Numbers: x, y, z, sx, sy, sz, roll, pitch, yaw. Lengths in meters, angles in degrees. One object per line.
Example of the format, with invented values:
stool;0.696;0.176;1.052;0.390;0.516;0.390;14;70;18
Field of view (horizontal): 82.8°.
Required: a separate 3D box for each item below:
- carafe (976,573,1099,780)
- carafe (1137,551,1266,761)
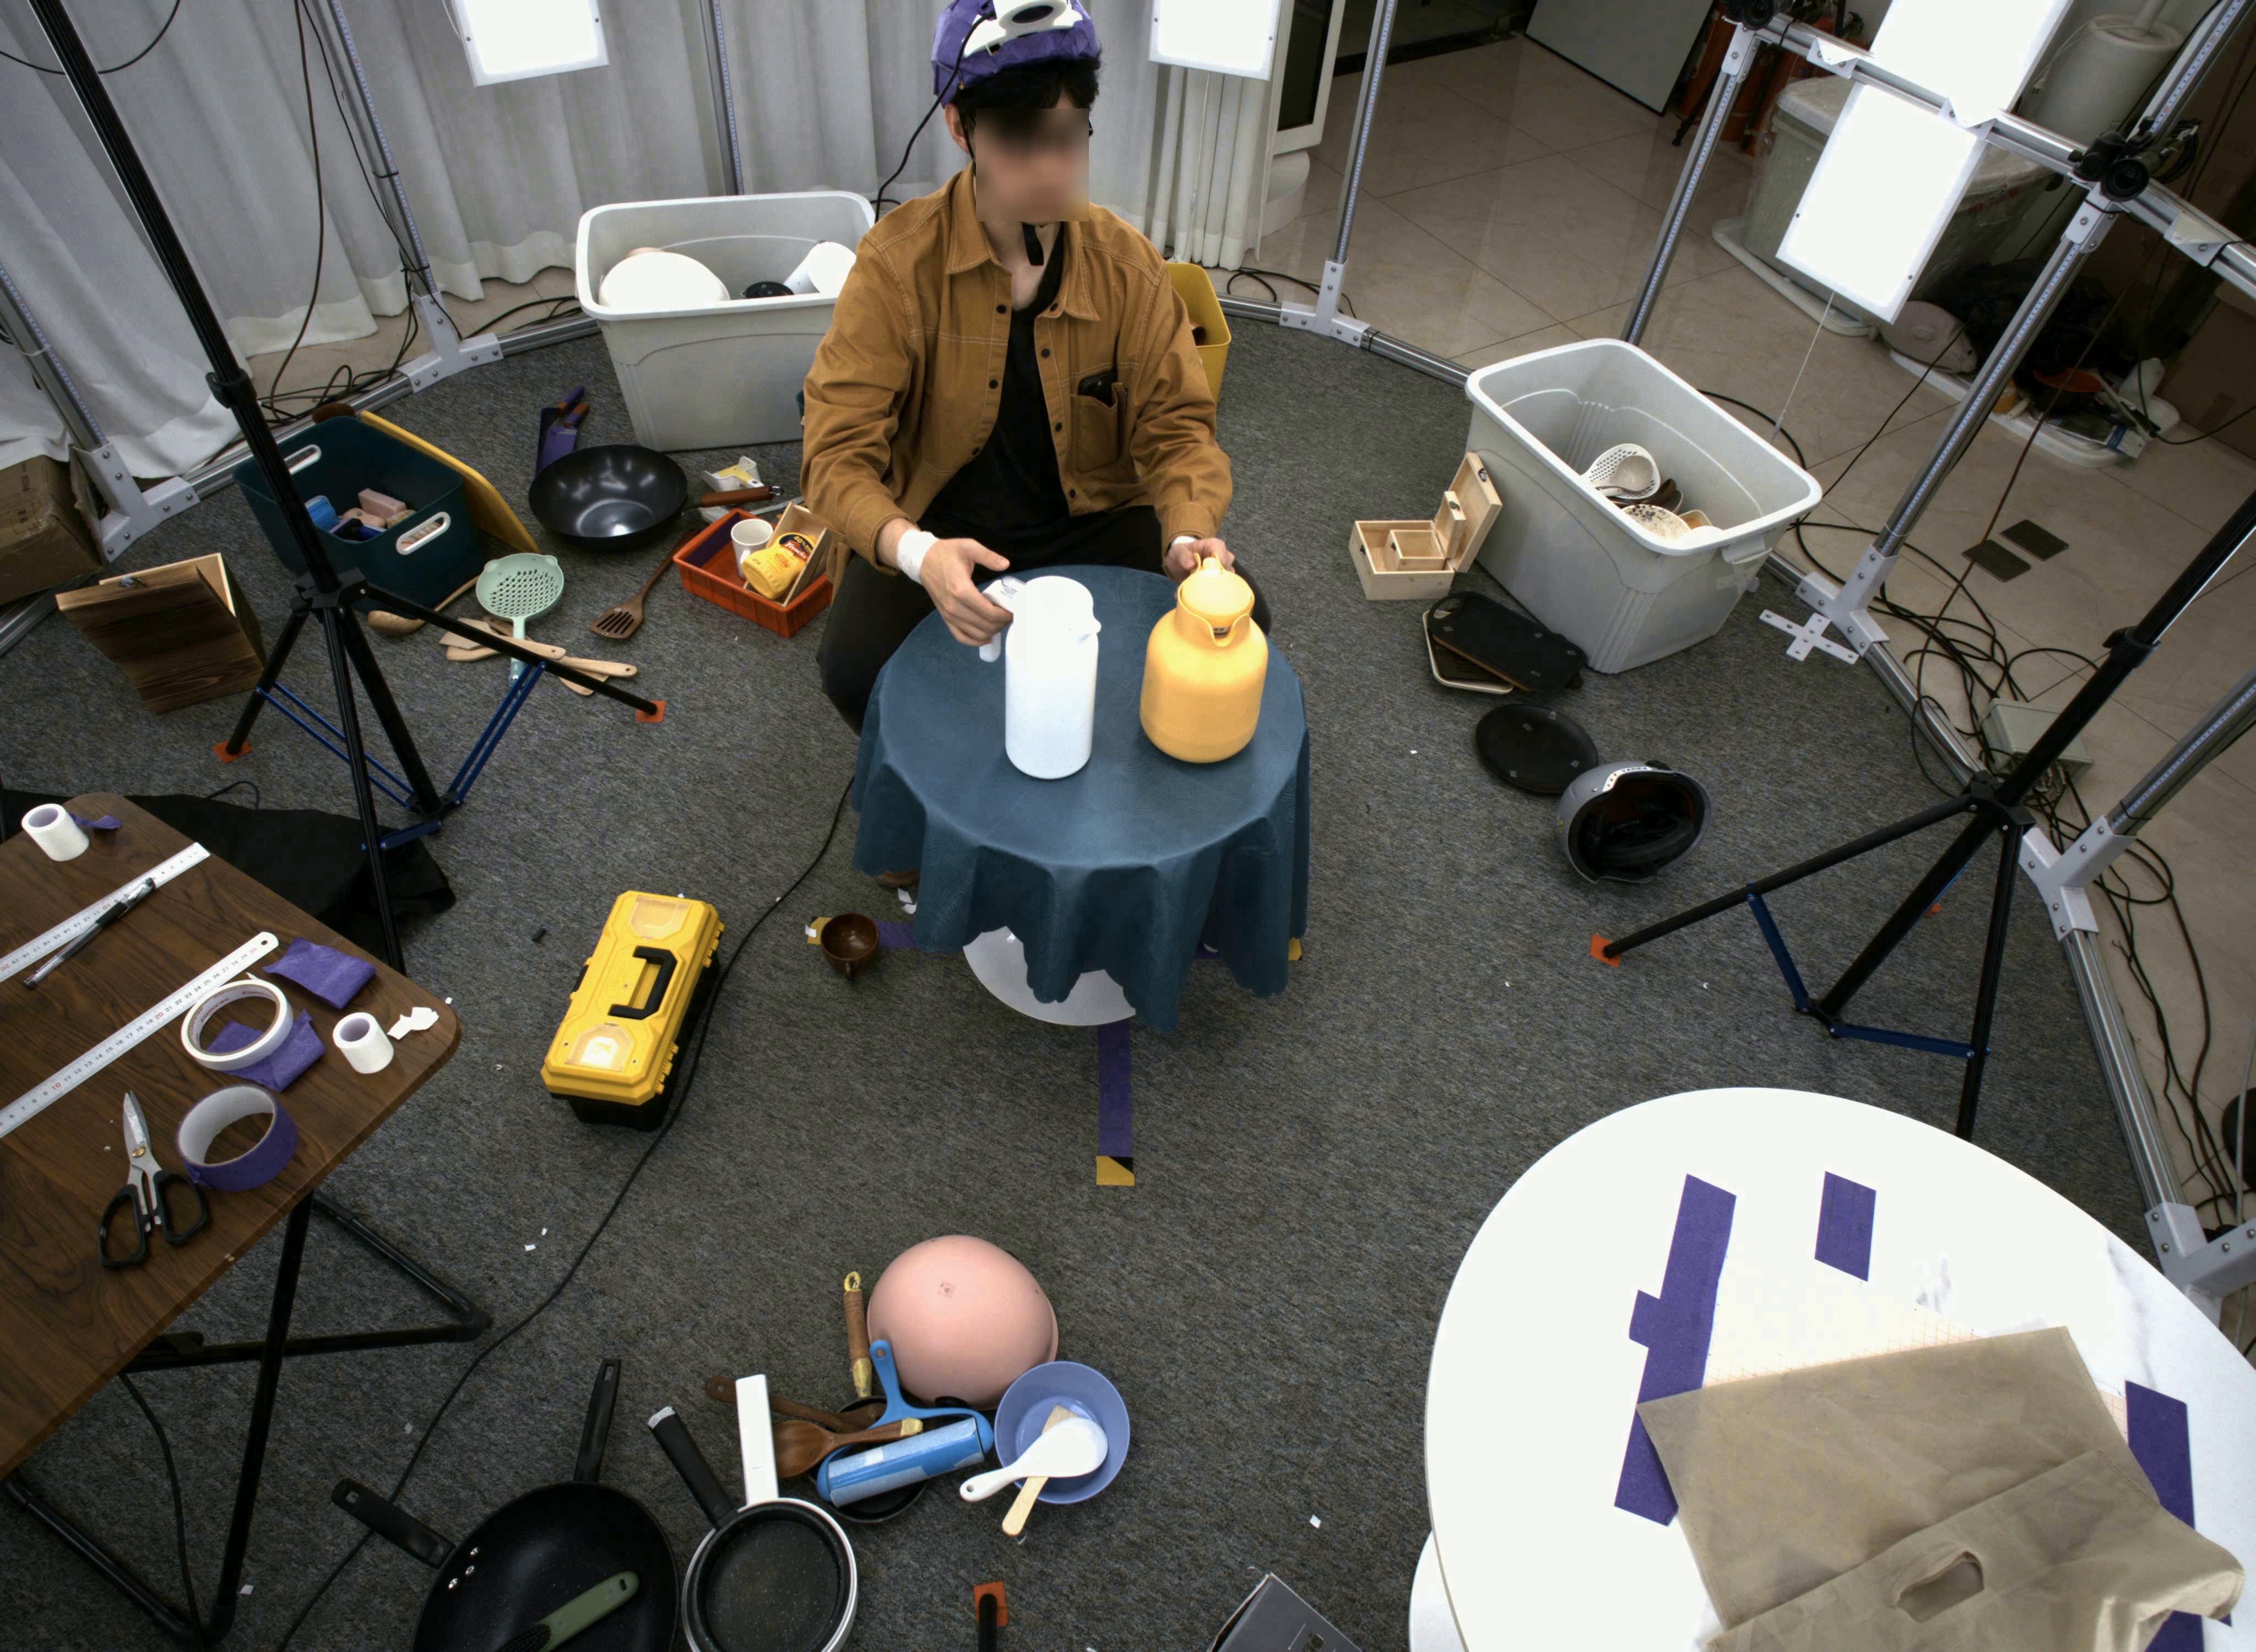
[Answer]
carafe;-0.116;-0.193;1.658;0.174;0.262;0.126;26;54;19
carafe;0.101;-0.233;1.707;0.163;0.254;0.207;2;51;-6
